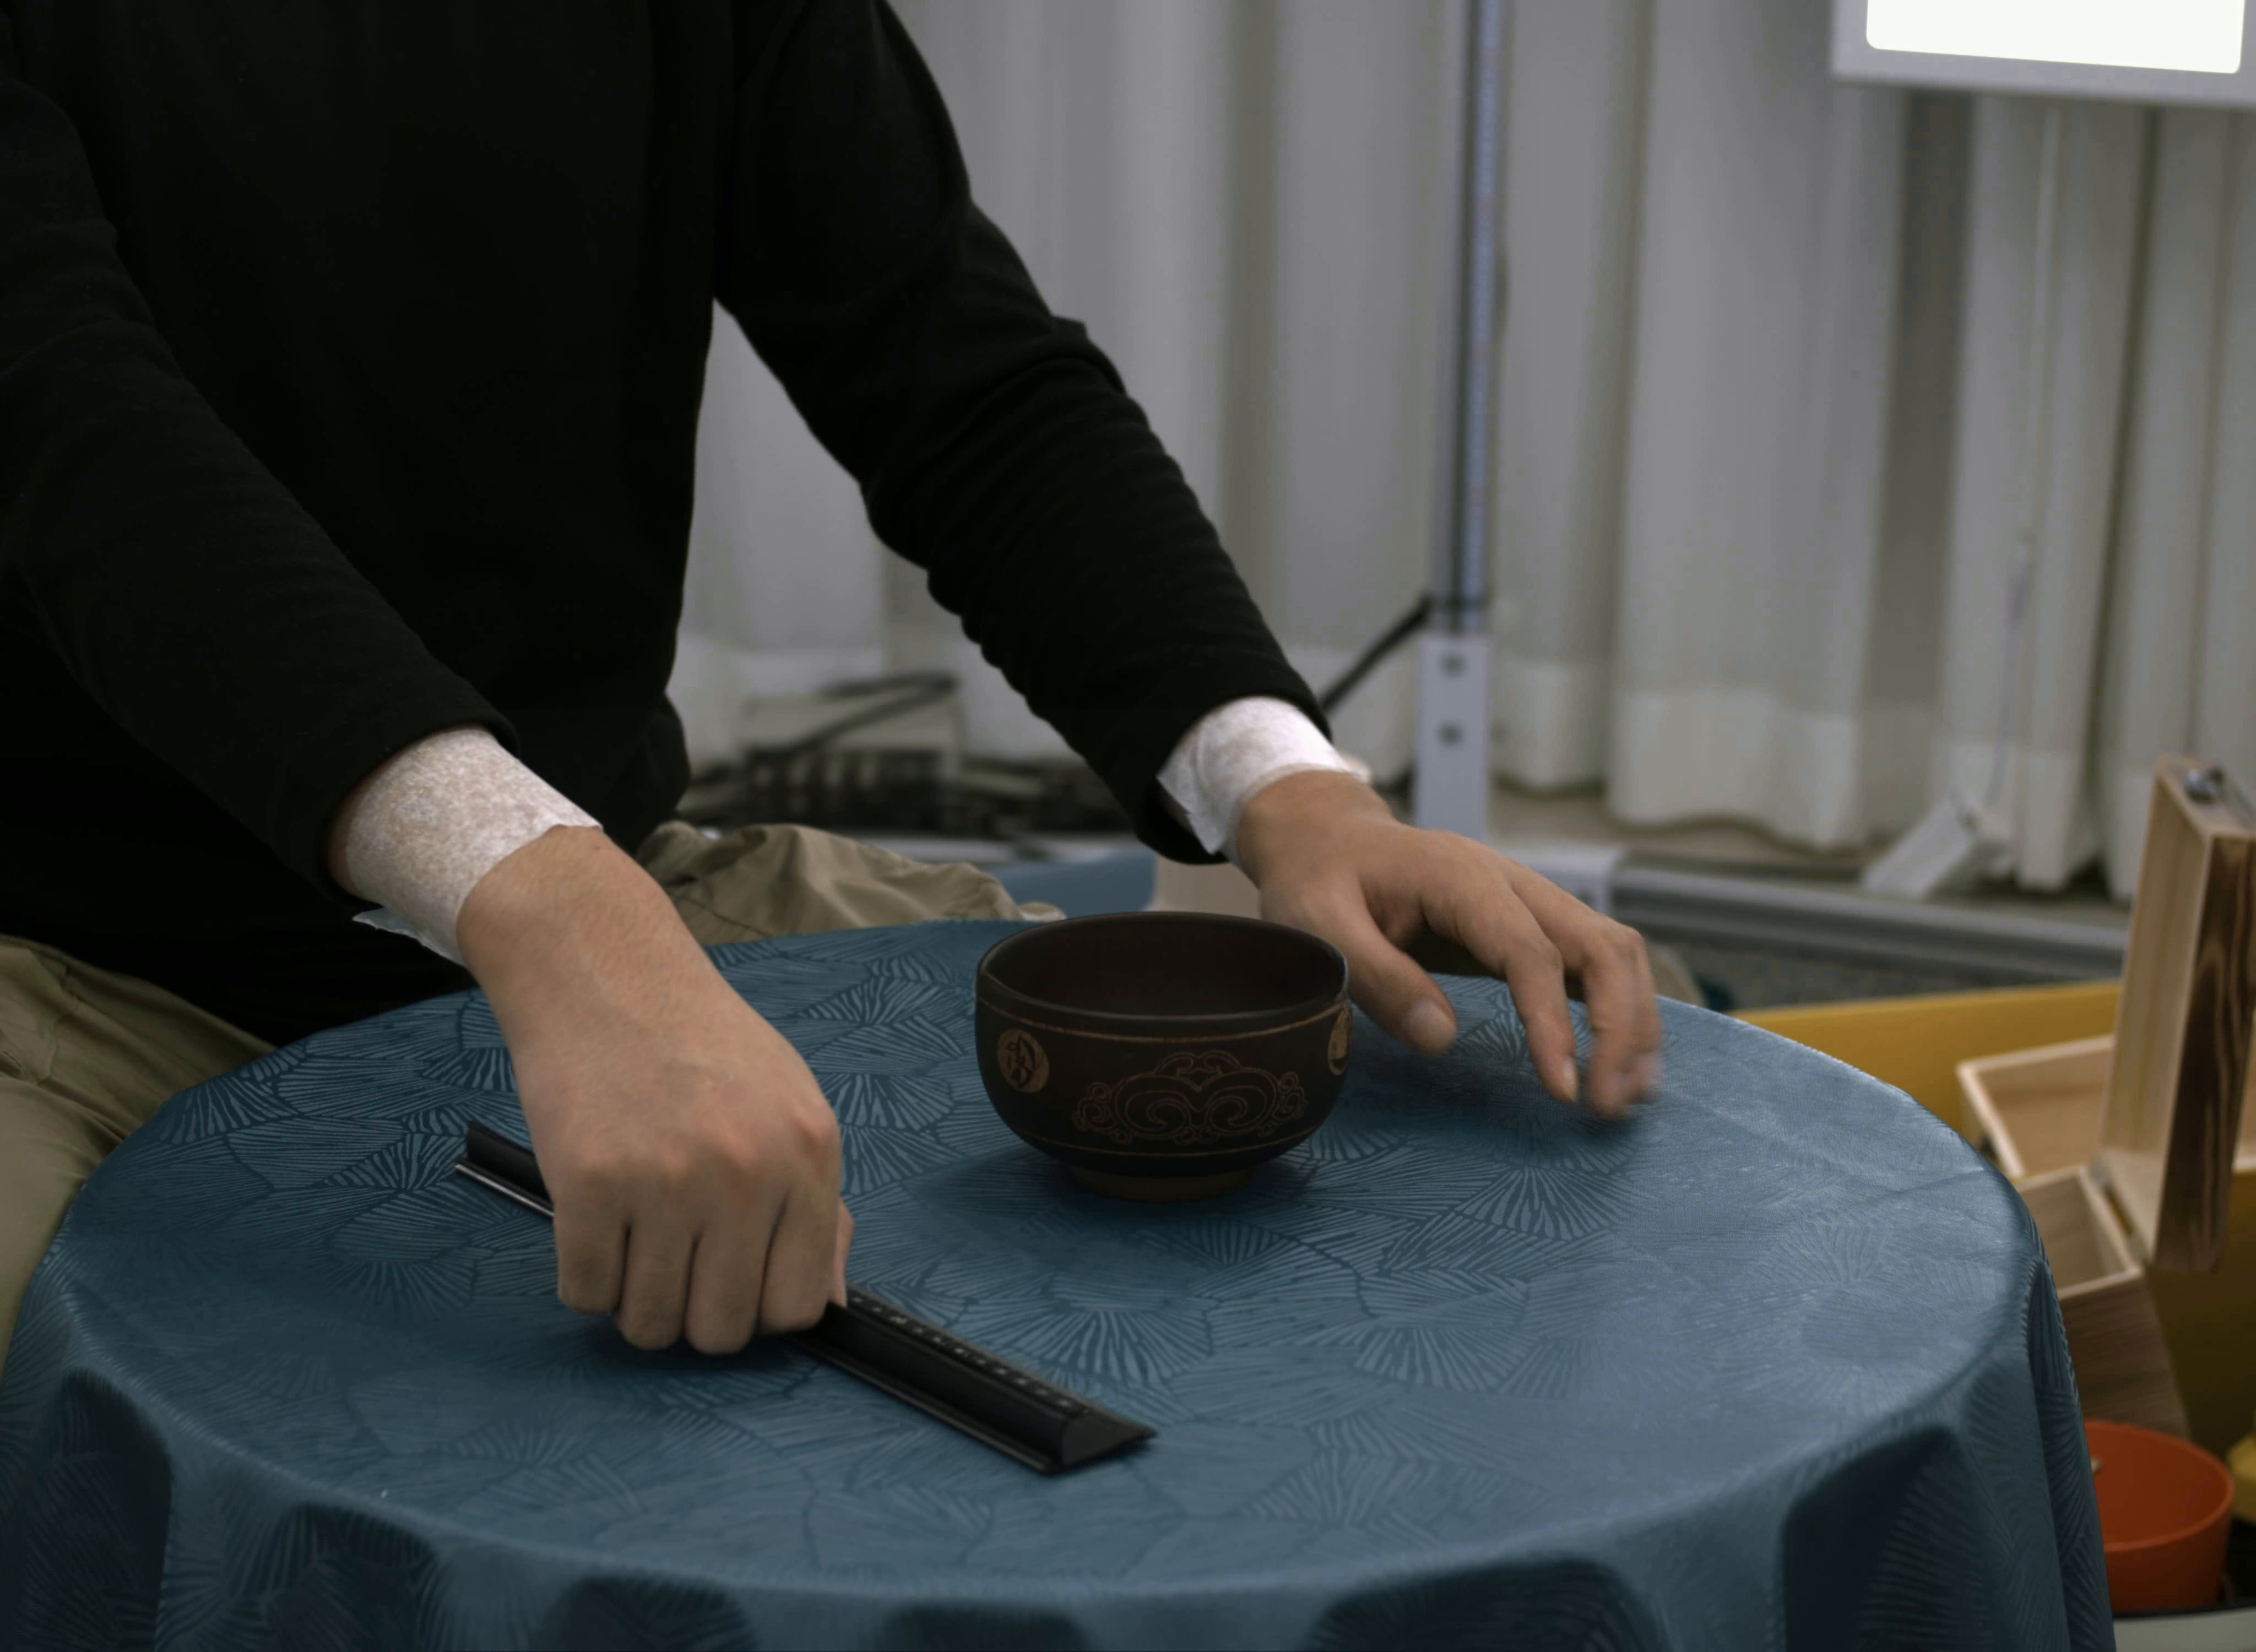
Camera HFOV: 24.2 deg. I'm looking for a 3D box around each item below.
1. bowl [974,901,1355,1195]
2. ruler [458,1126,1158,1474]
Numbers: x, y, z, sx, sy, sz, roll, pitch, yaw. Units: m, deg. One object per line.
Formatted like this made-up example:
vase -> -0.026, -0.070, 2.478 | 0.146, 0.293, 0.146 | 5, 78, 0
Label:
bowl -> 0.011, 0.072, 1.628 | 0.117, 0.070, 0.117 | 1, 16, 0
ruler -> -0.099, 0.130, 1.523 | 0.039, 0.017, 0.308 | -11, 19, -37
